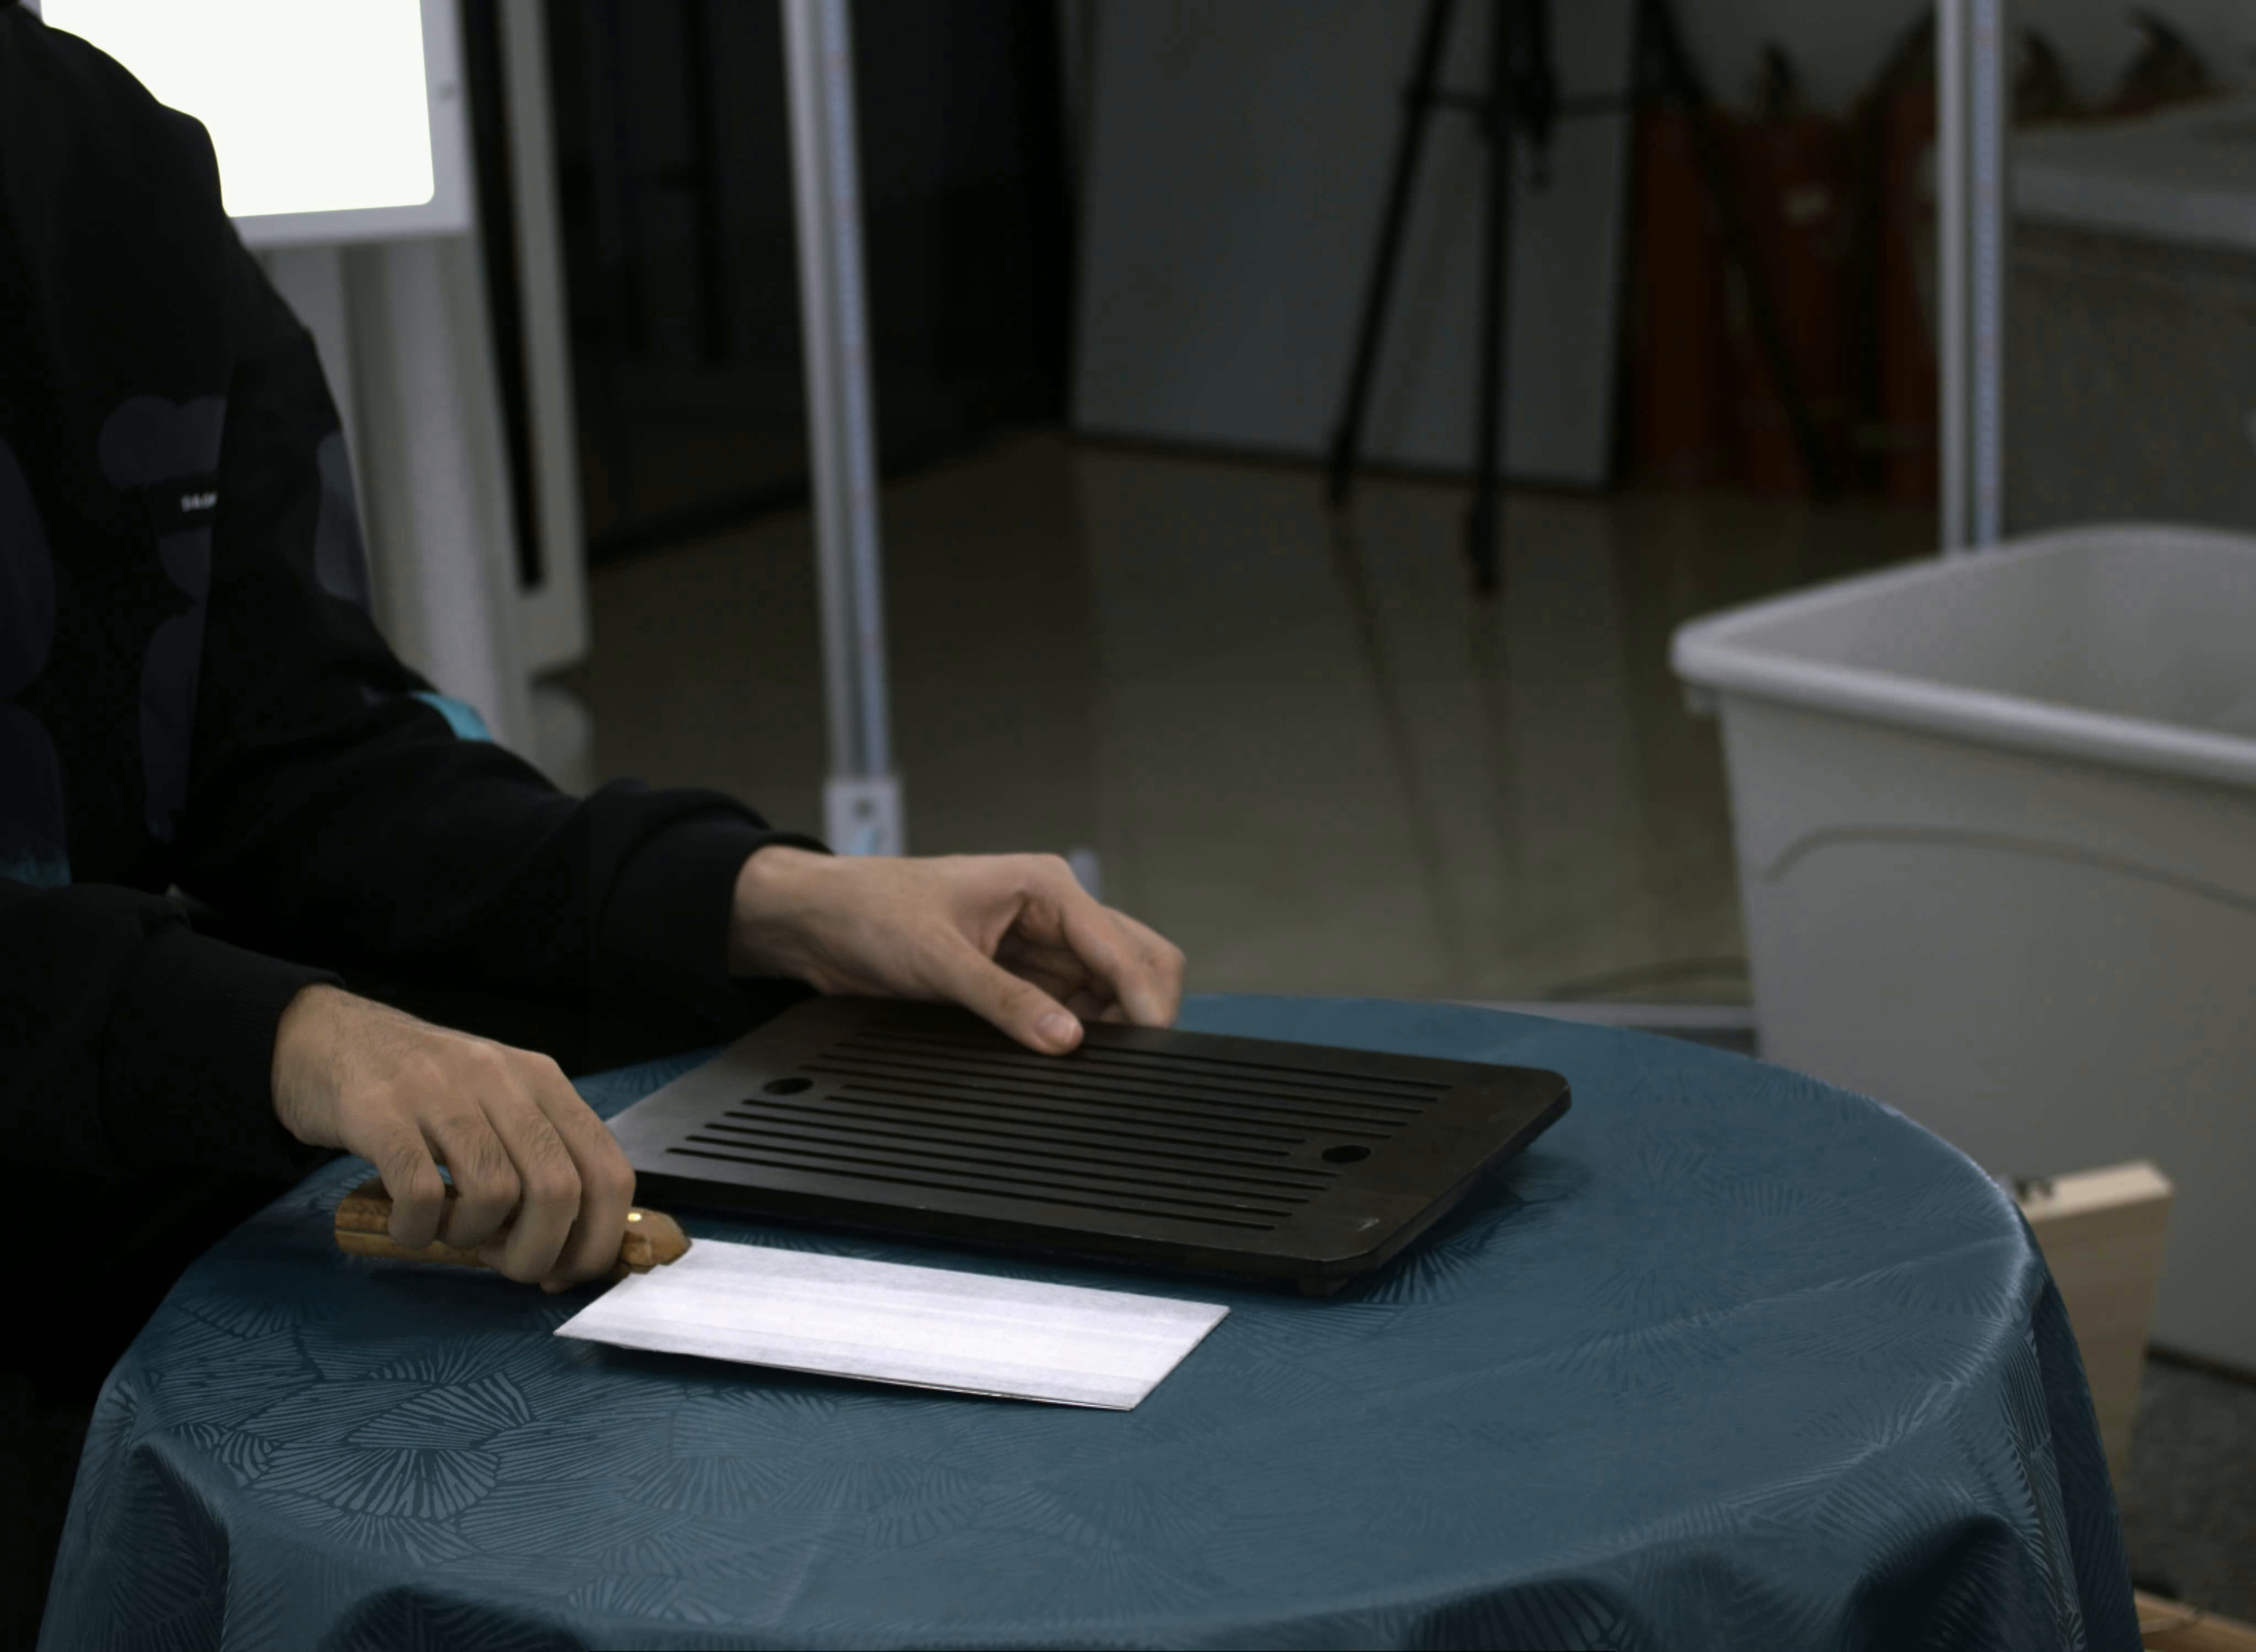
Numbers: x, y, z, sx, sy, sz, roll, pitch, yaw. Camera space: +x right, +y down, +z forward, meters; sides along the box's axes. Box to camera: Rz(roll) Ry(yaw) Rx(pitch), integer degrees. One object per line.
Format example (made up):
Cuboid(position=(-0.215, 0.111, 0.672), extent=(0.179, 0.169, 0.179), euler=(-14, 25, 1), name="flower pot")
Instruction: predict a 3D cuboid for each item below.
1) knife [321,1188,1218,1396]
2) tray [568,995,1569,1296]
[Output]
Cuboid(position=(-0.123, 0.146, 1.665), extent=(0.305, 0.021, 0.092), euler=(5, 17, 22), name="knife")
Cuboid(position=(-0.020, 0.104, 1.788), extent=(0.307, 0.019, 0.167), euler=(4, 21, 31), name="tray")
